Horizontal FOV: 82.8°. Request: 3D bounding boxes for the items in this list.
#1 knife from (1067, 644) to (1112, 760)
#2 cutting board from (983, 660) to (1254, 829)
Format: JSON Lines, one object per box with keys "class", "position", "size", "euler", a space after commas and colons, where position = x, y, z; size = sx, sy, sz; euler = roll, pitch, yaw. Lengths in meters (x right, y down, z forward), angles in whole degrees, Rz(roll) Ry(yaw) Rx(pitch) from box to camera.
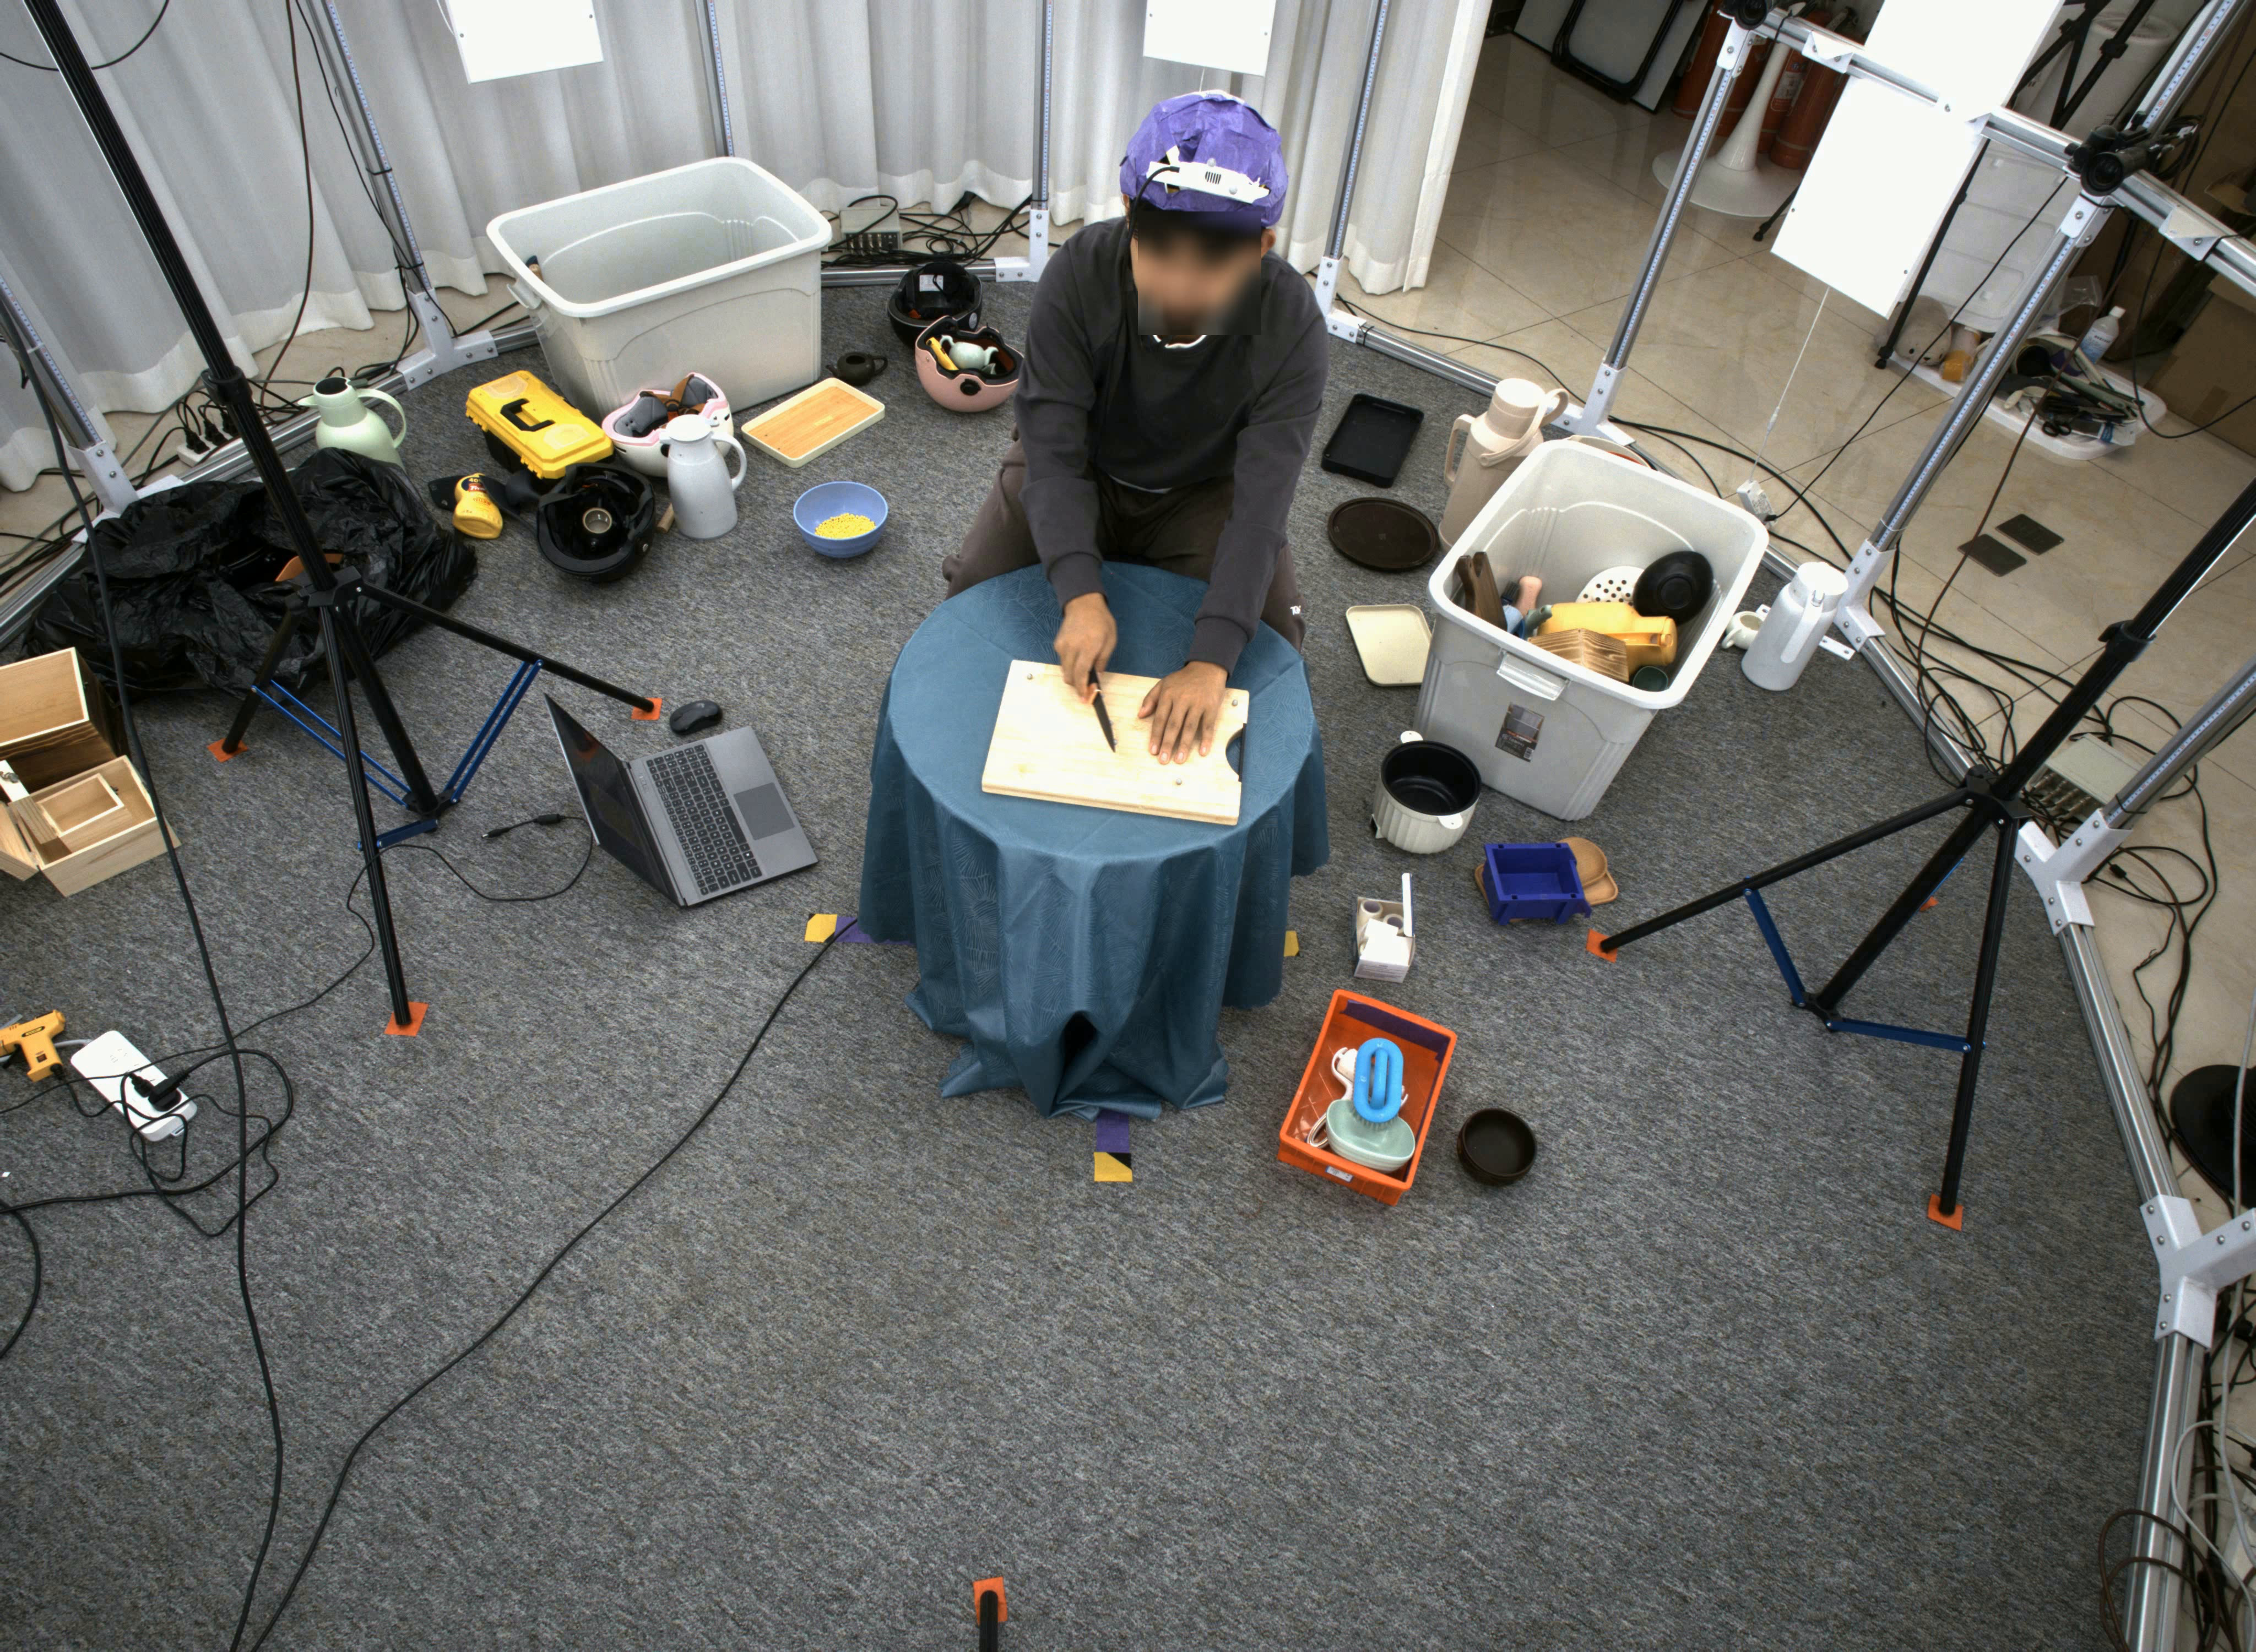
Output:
{"class": "knife", "position": [-0.050, -0.171, 1.736], "size": [0.017, 0.026, 0.231], "euler": [12, 39, -31]}
{"class": "cutting board", "position": [-0.006, -0.117, 1.755], "size": [0.348, 0.023, 0.257], "euler": [7, 49, 2]}
